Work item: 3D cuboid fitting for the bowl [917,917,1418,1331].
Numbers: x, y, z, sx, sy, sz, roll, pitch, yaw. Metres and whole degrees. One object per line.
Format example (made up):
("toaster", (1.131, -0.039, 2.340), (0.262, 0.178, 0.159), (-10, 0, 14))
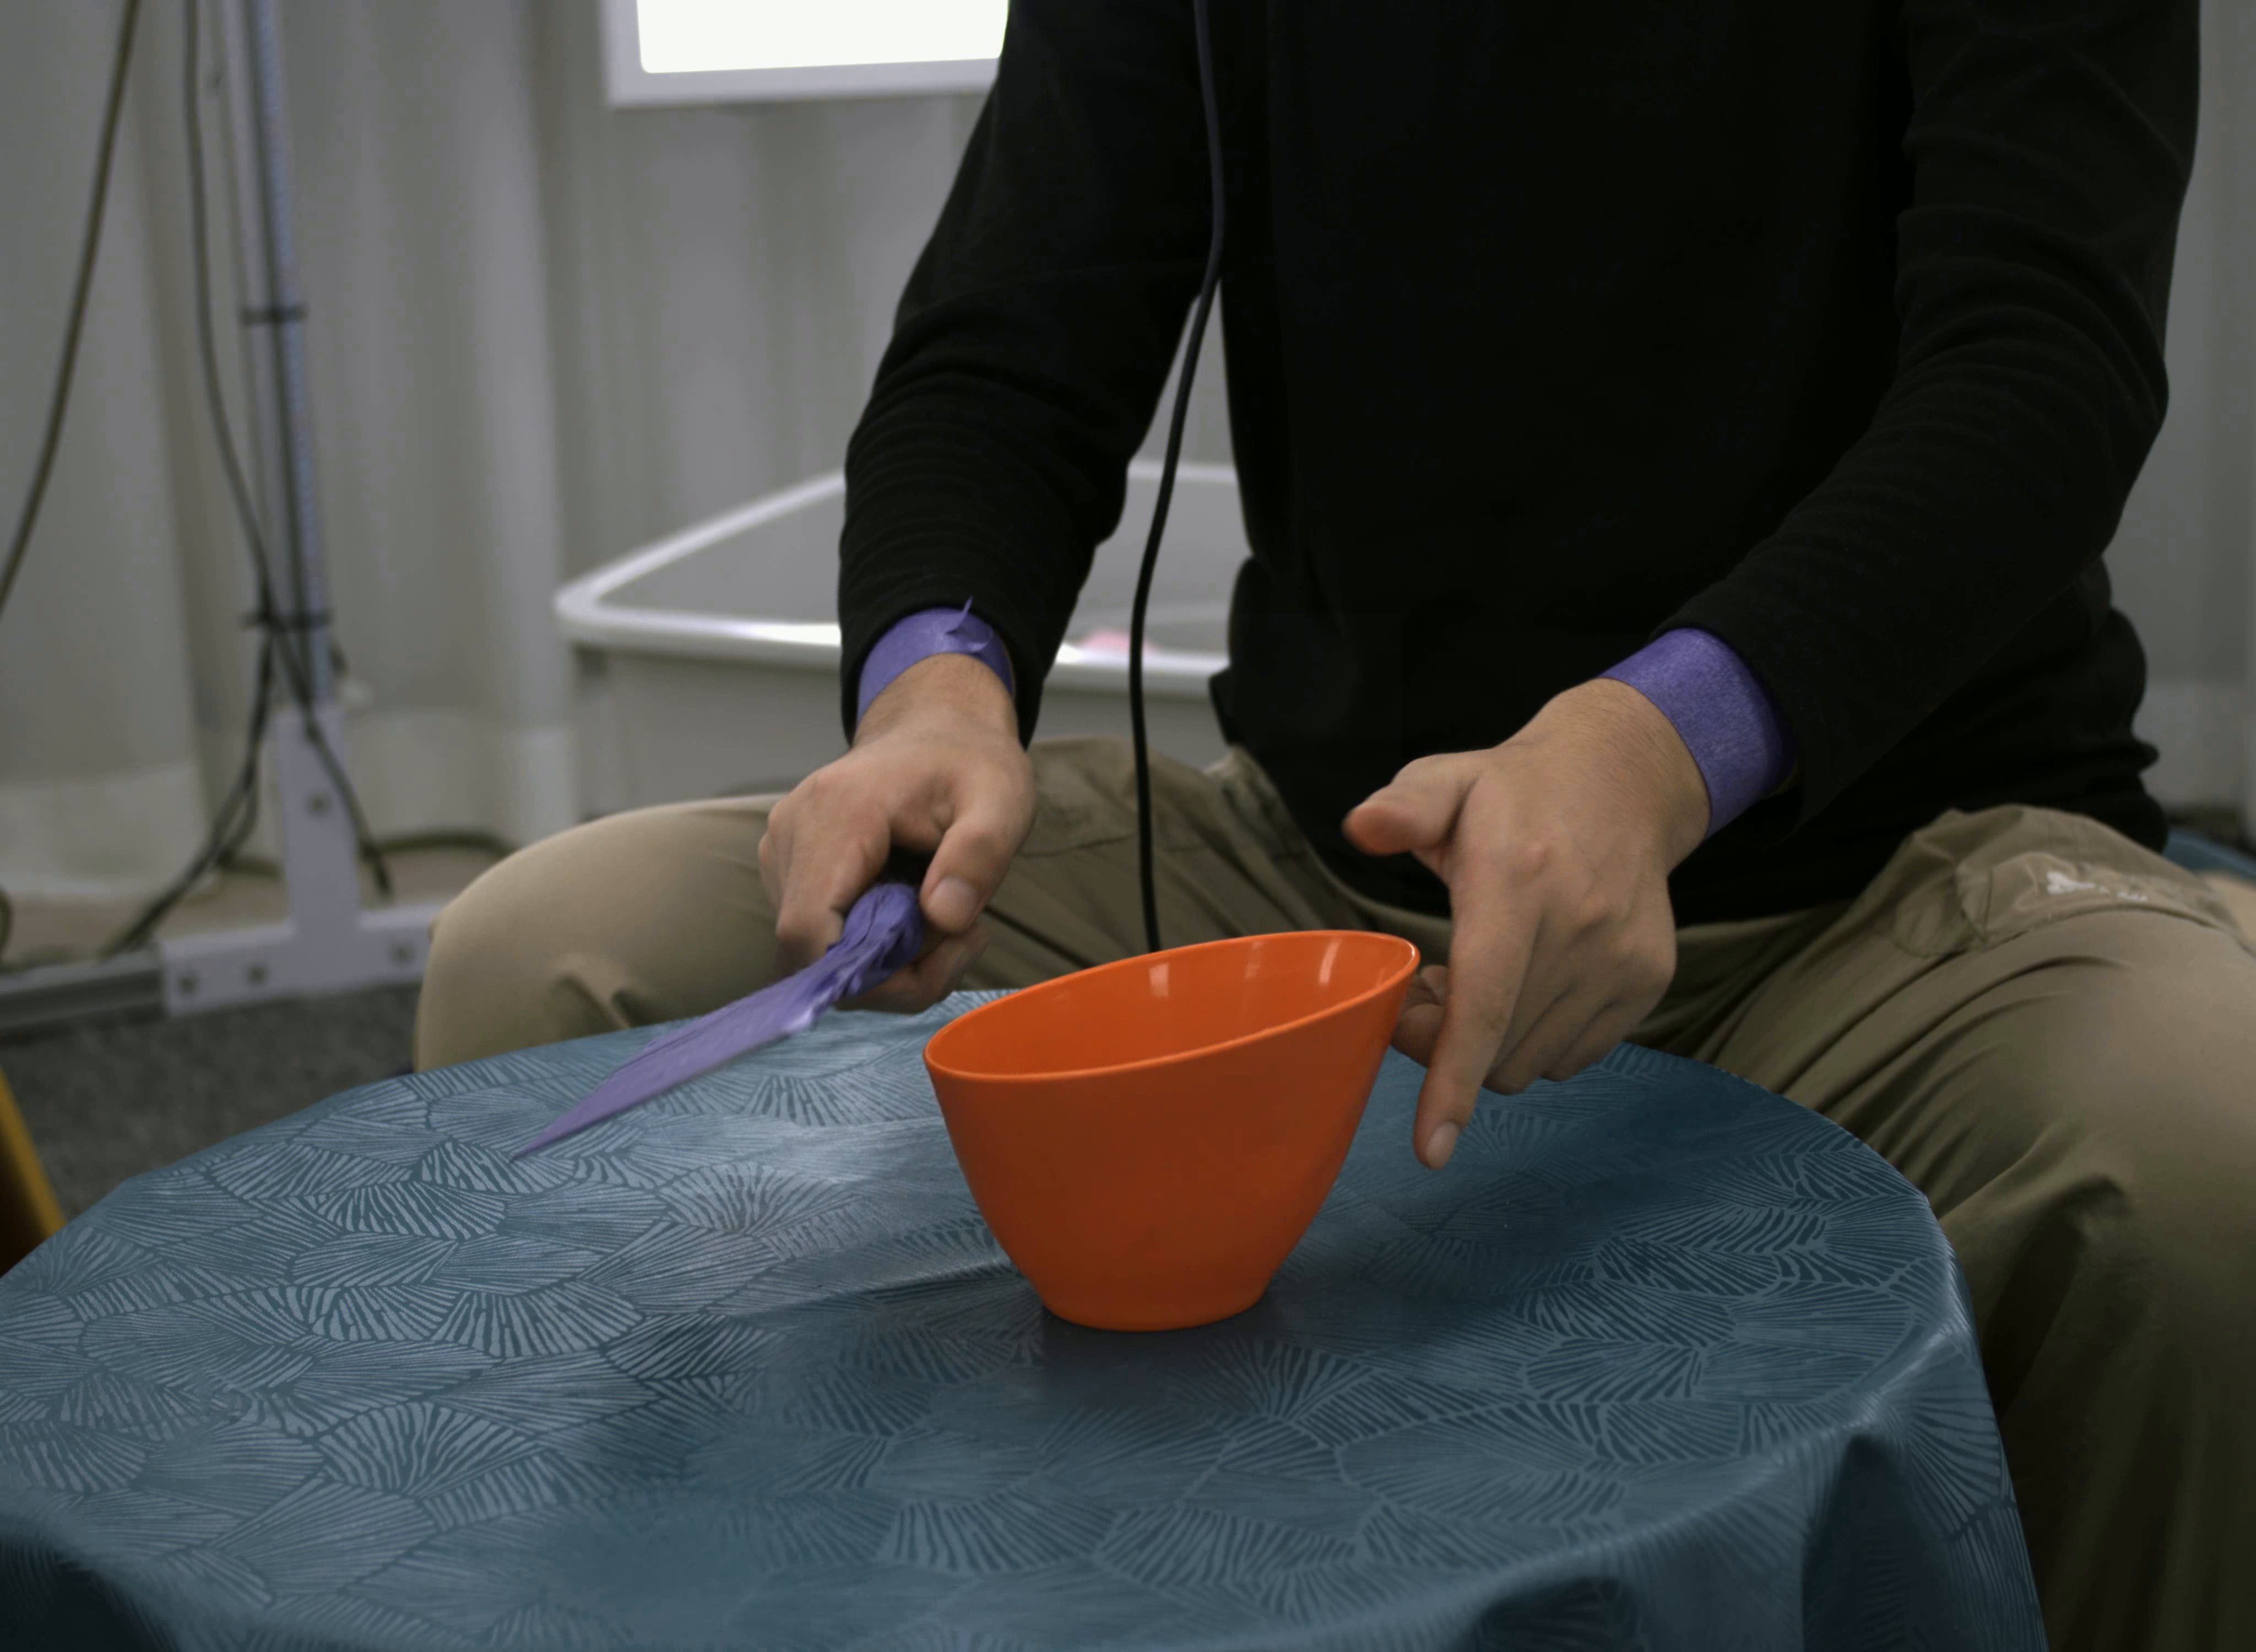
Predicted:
("bowl", (0.013, 0.089, 1.603), (0.147, 0.104, 0.149), (-3, 18, 1))

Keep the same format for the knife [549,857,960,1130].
("knife", (-0.113, 0.049, 1.663), (0.103, 0.032, 0.315), (-24, 1, 8))
